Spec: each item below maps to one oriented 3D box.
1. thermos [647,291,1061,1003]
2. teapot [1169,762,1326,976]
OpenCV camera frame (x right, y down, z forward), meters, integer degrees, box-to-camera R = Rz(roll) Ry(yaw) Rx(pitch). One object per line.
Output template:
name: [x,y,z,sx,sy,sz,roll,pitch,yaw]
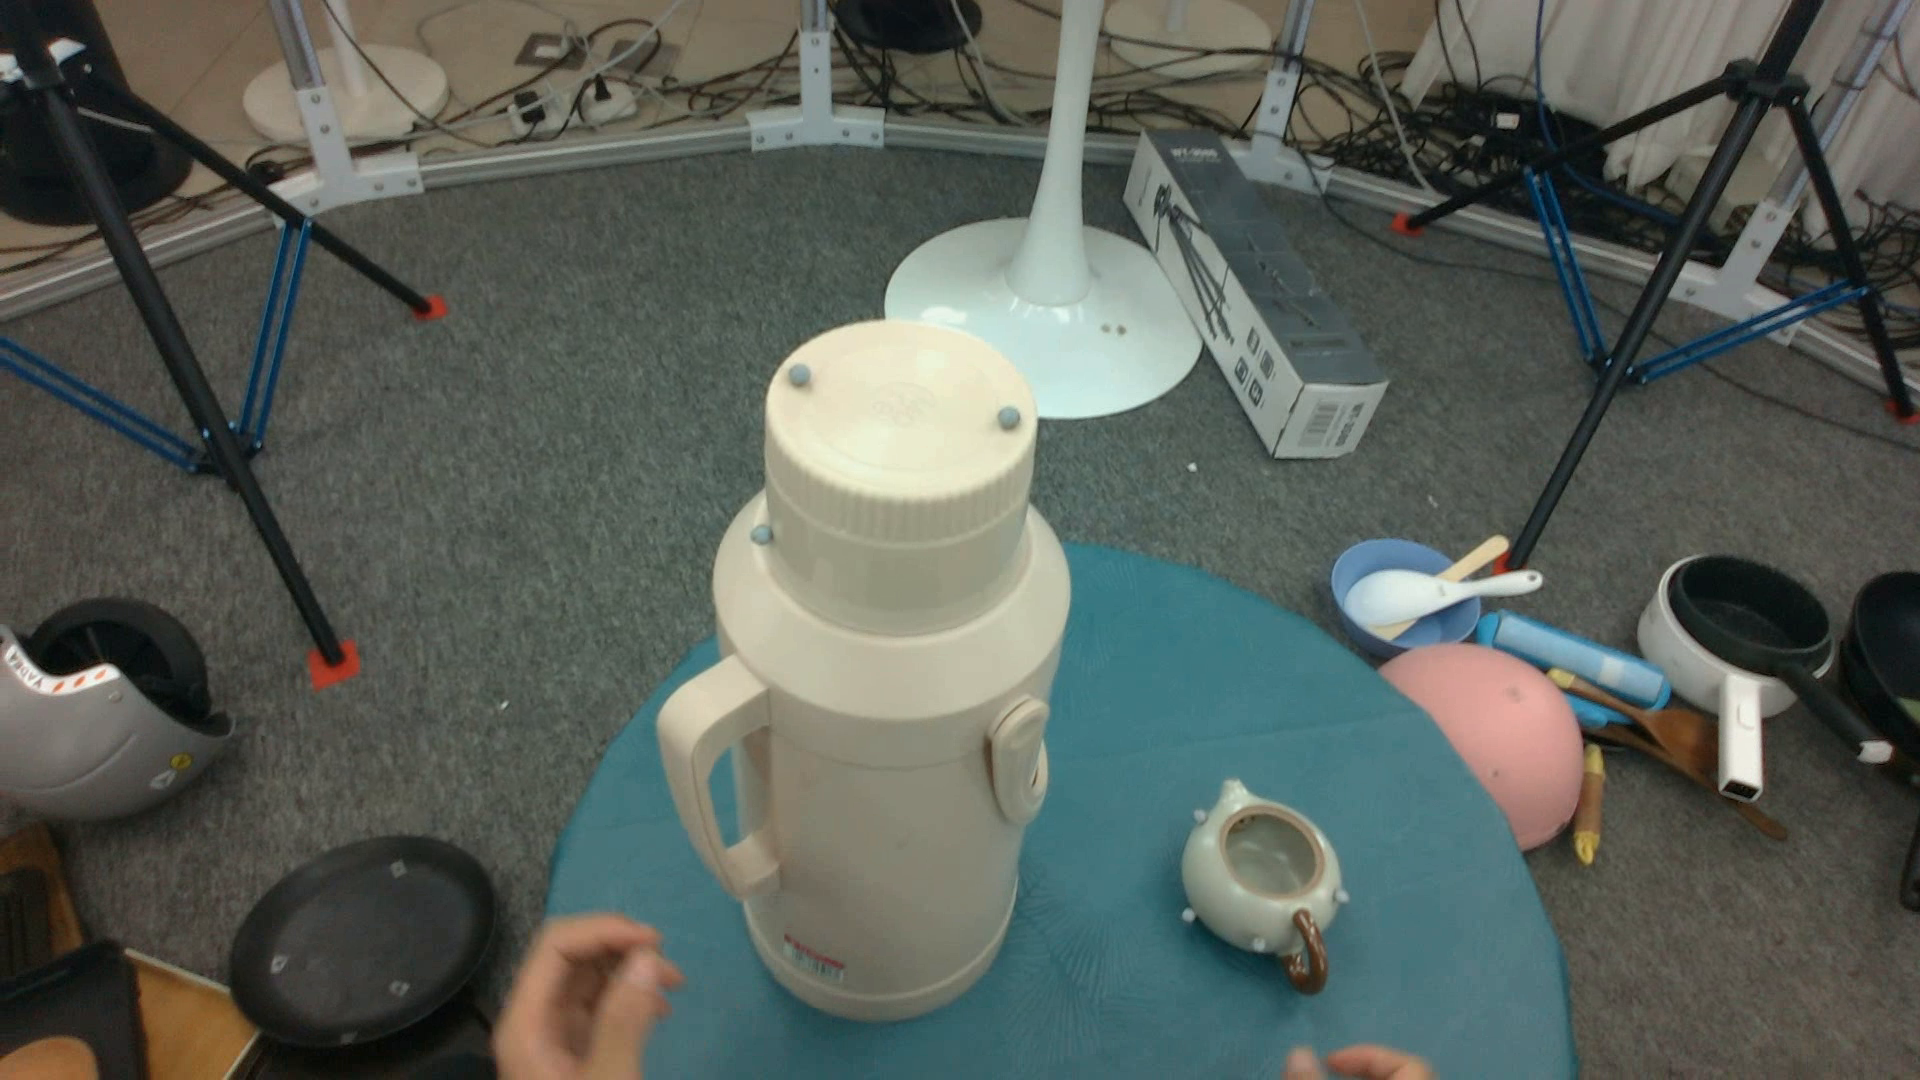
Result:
thermos: [-0.053,0.075,0.665,0.208,0.404,0.175,-33,60,-31]
teapot: [0.173,0.194,0.807,0.092,0.059,0.128,-10,49,-19]
